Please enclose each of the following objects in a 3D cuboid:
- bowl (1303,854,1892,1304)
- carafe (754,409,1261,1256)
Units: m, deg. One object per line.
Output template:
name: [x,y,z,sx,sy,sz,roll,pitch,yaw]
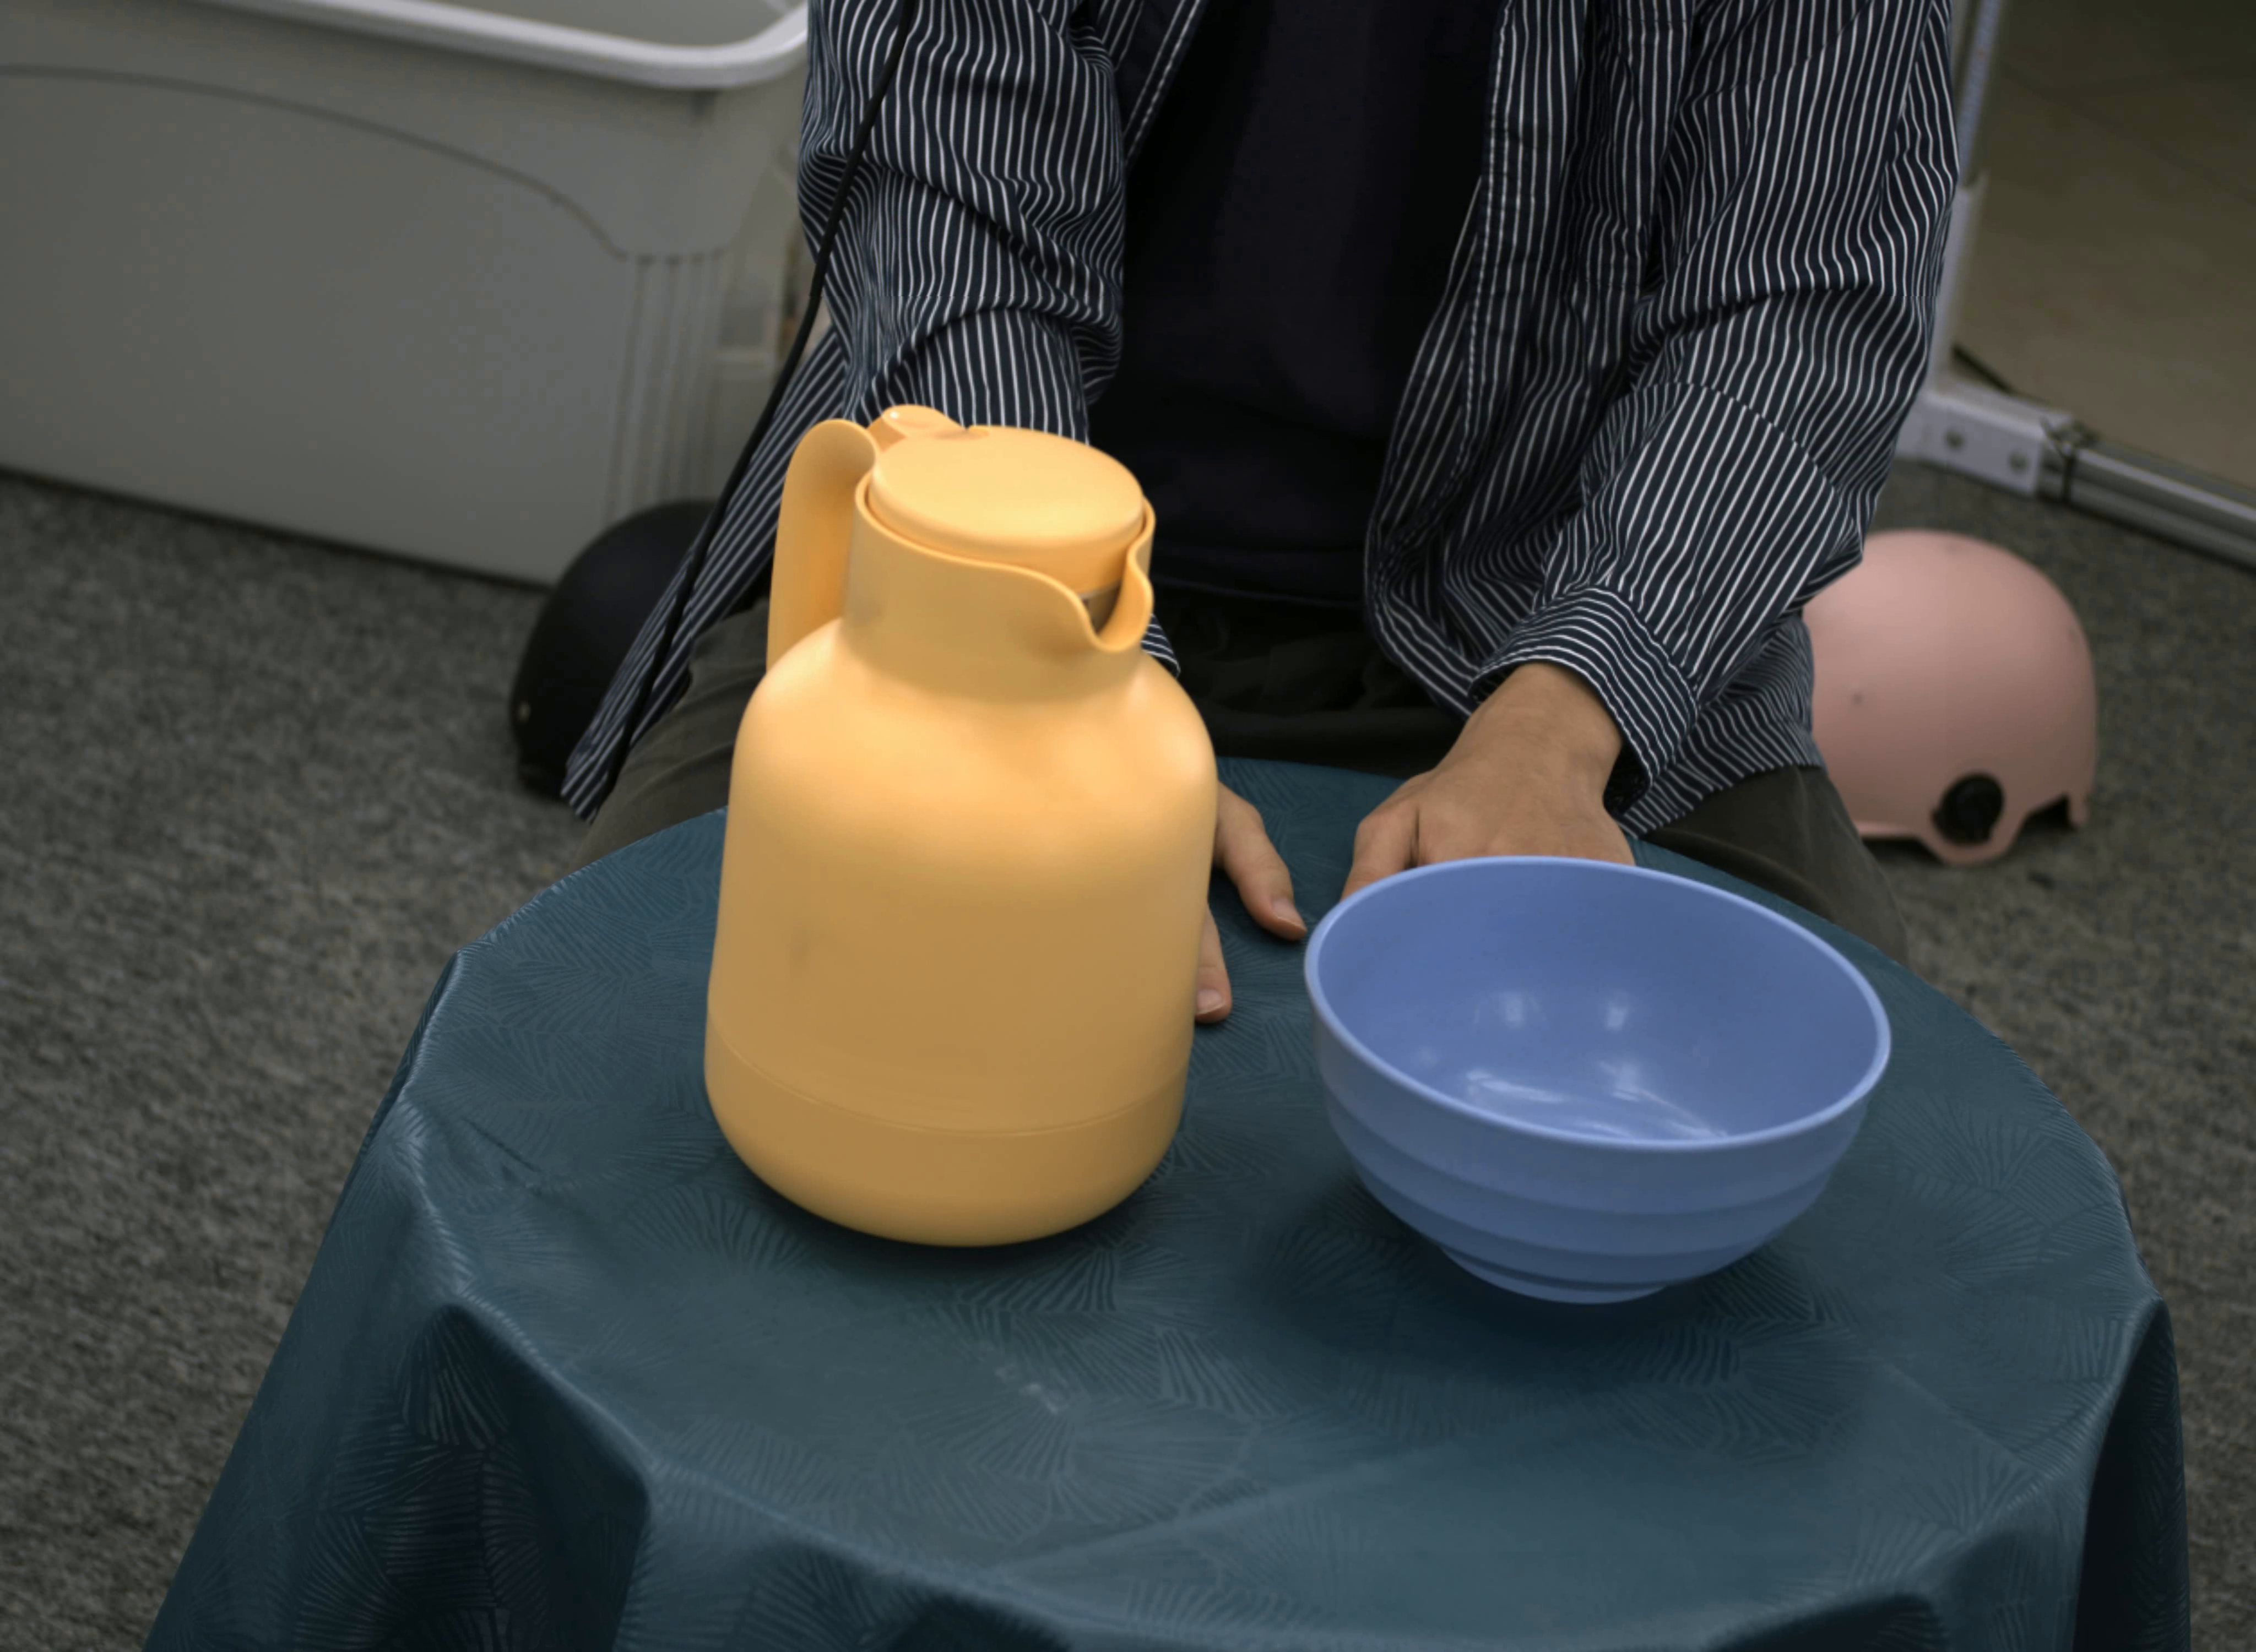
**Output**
bowl: [0.151,0.096,1.781,0.196,0.095,0.197,5,27,-3]
carafe: [-0.046,-0.008,1.761,0.162,0.259,0.204,-11,31,-31]
